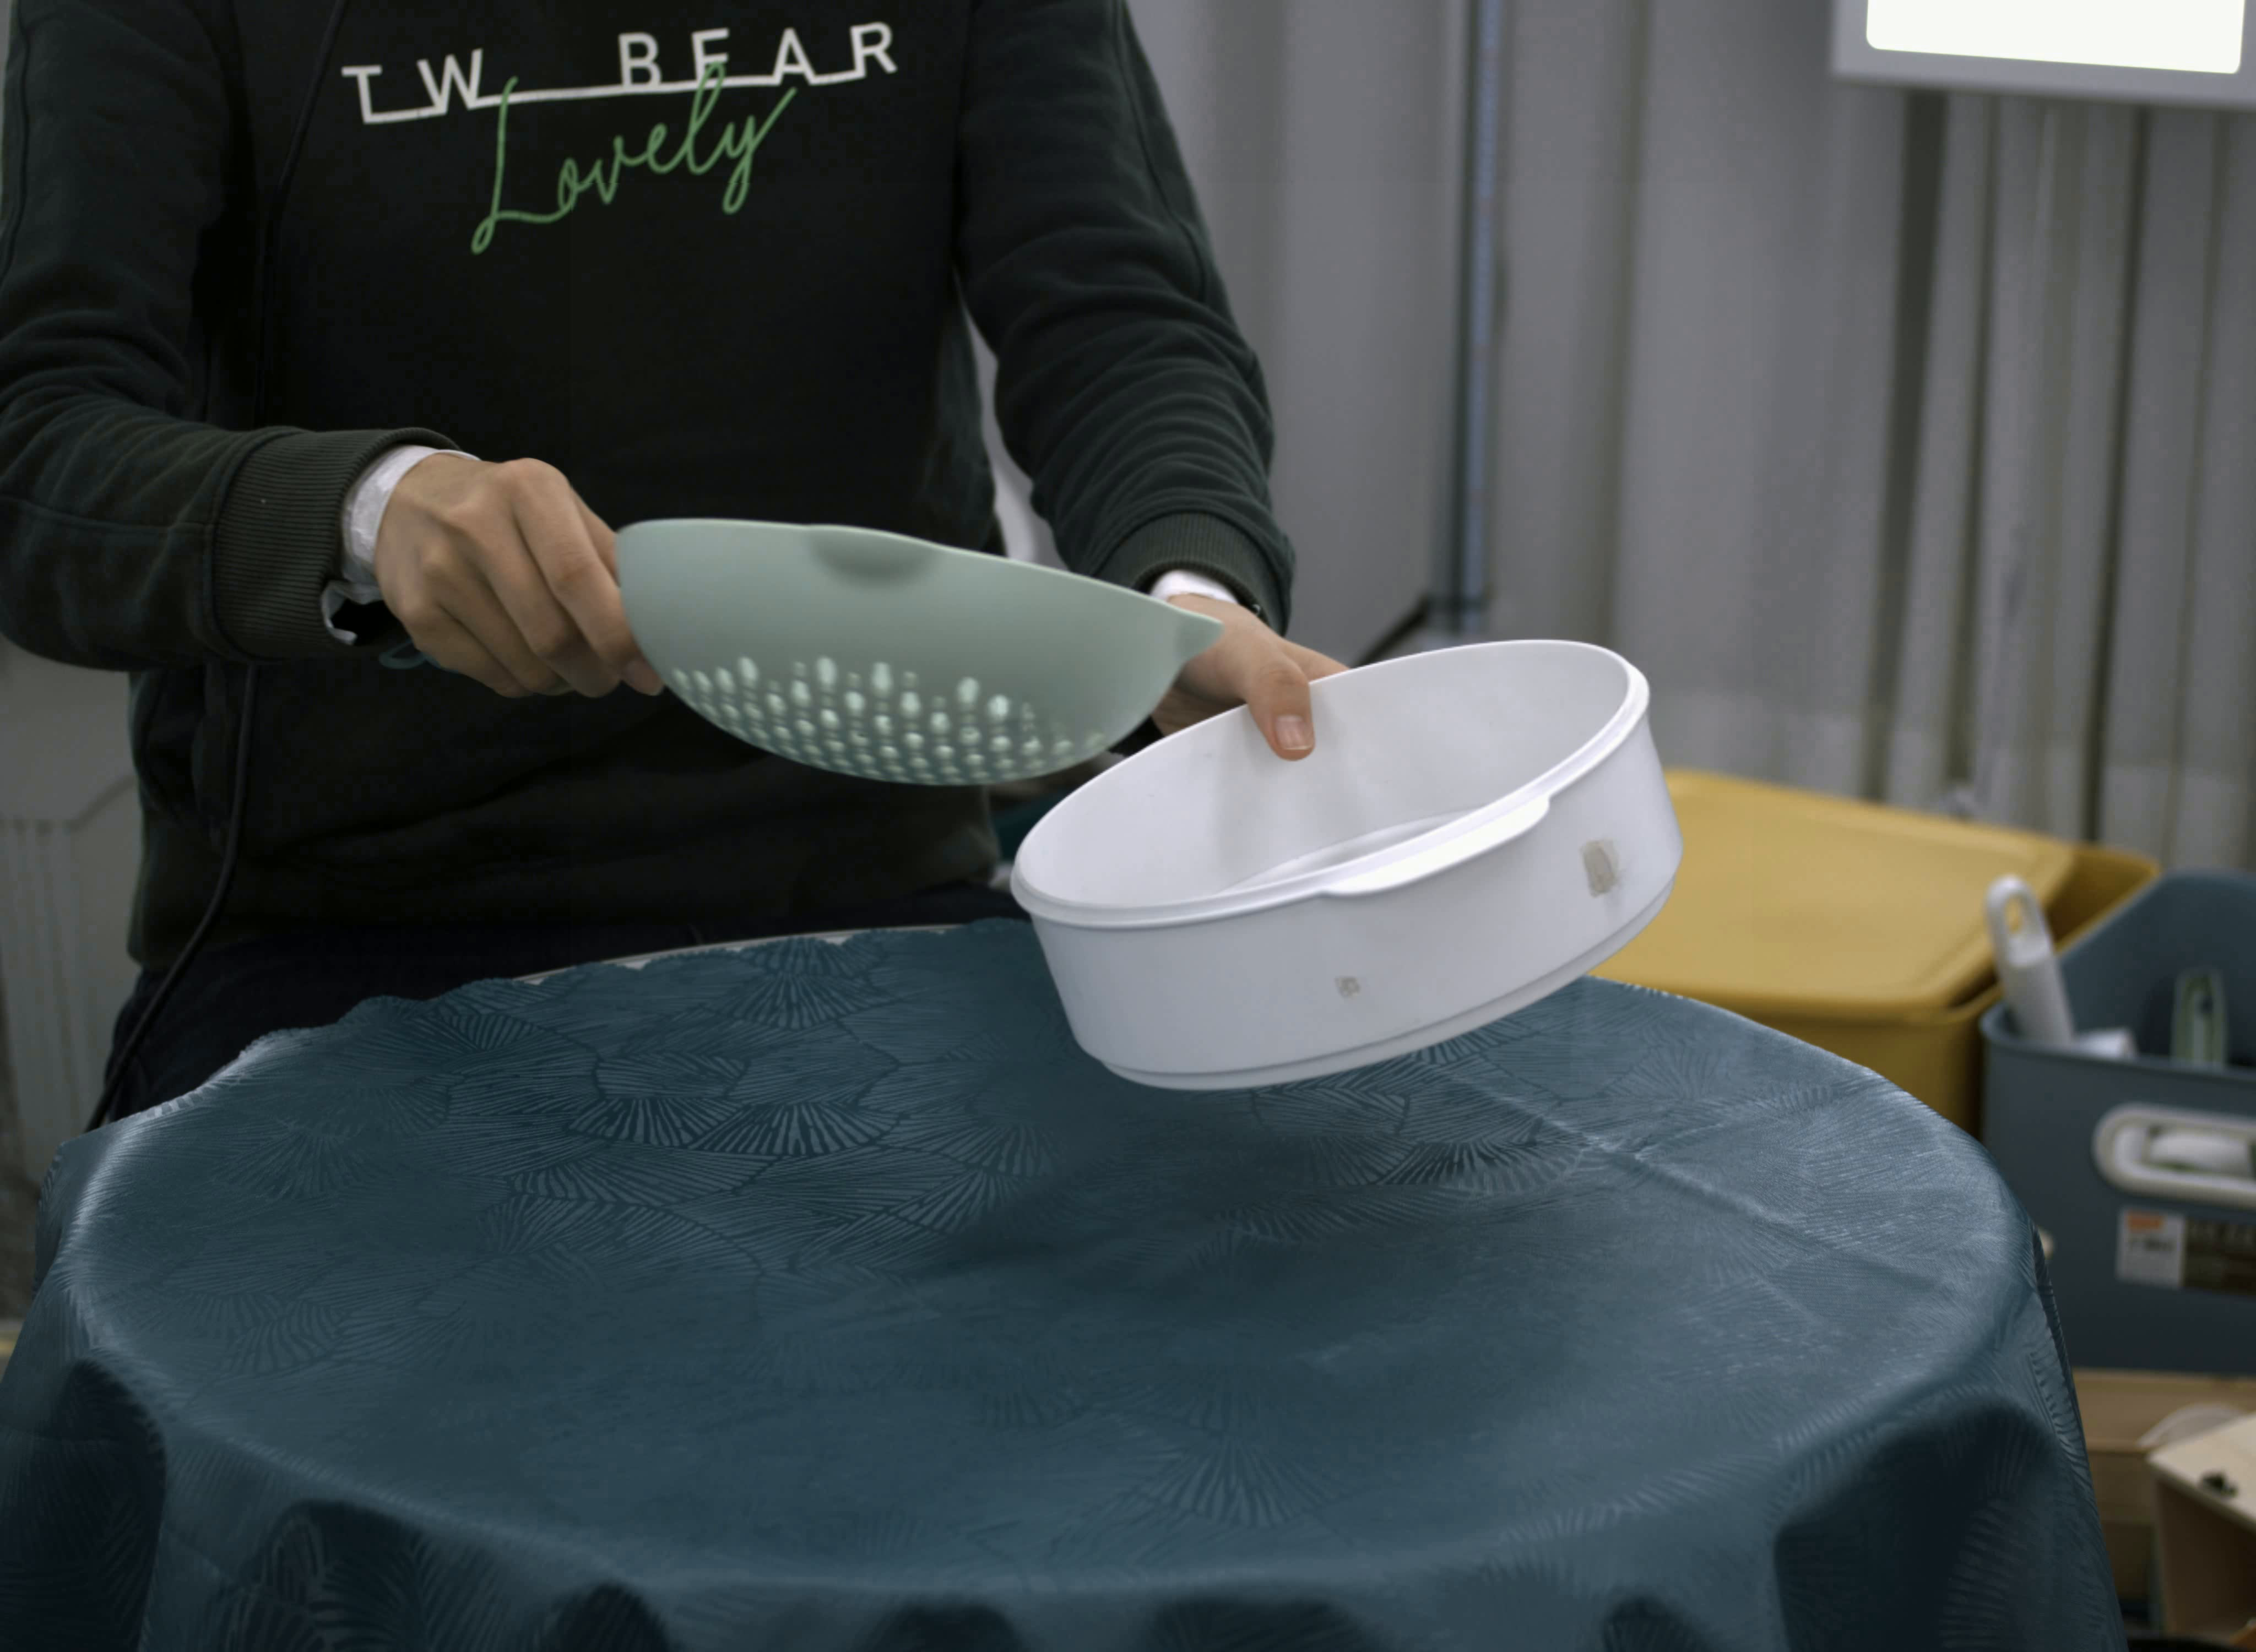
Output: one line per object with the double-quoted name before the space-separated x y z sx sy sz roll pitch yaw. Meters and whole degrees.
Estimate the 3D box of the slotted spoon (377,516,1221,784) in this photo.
"slotted spoon" -0.128 -0.061 1.580 0.171 0.075 0.354 14 1 -39

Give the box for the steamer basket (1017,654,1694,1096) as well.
"steamer basket" 0.071 0.015 1.582 0.202 0.070 0.228 -21 17 -14
